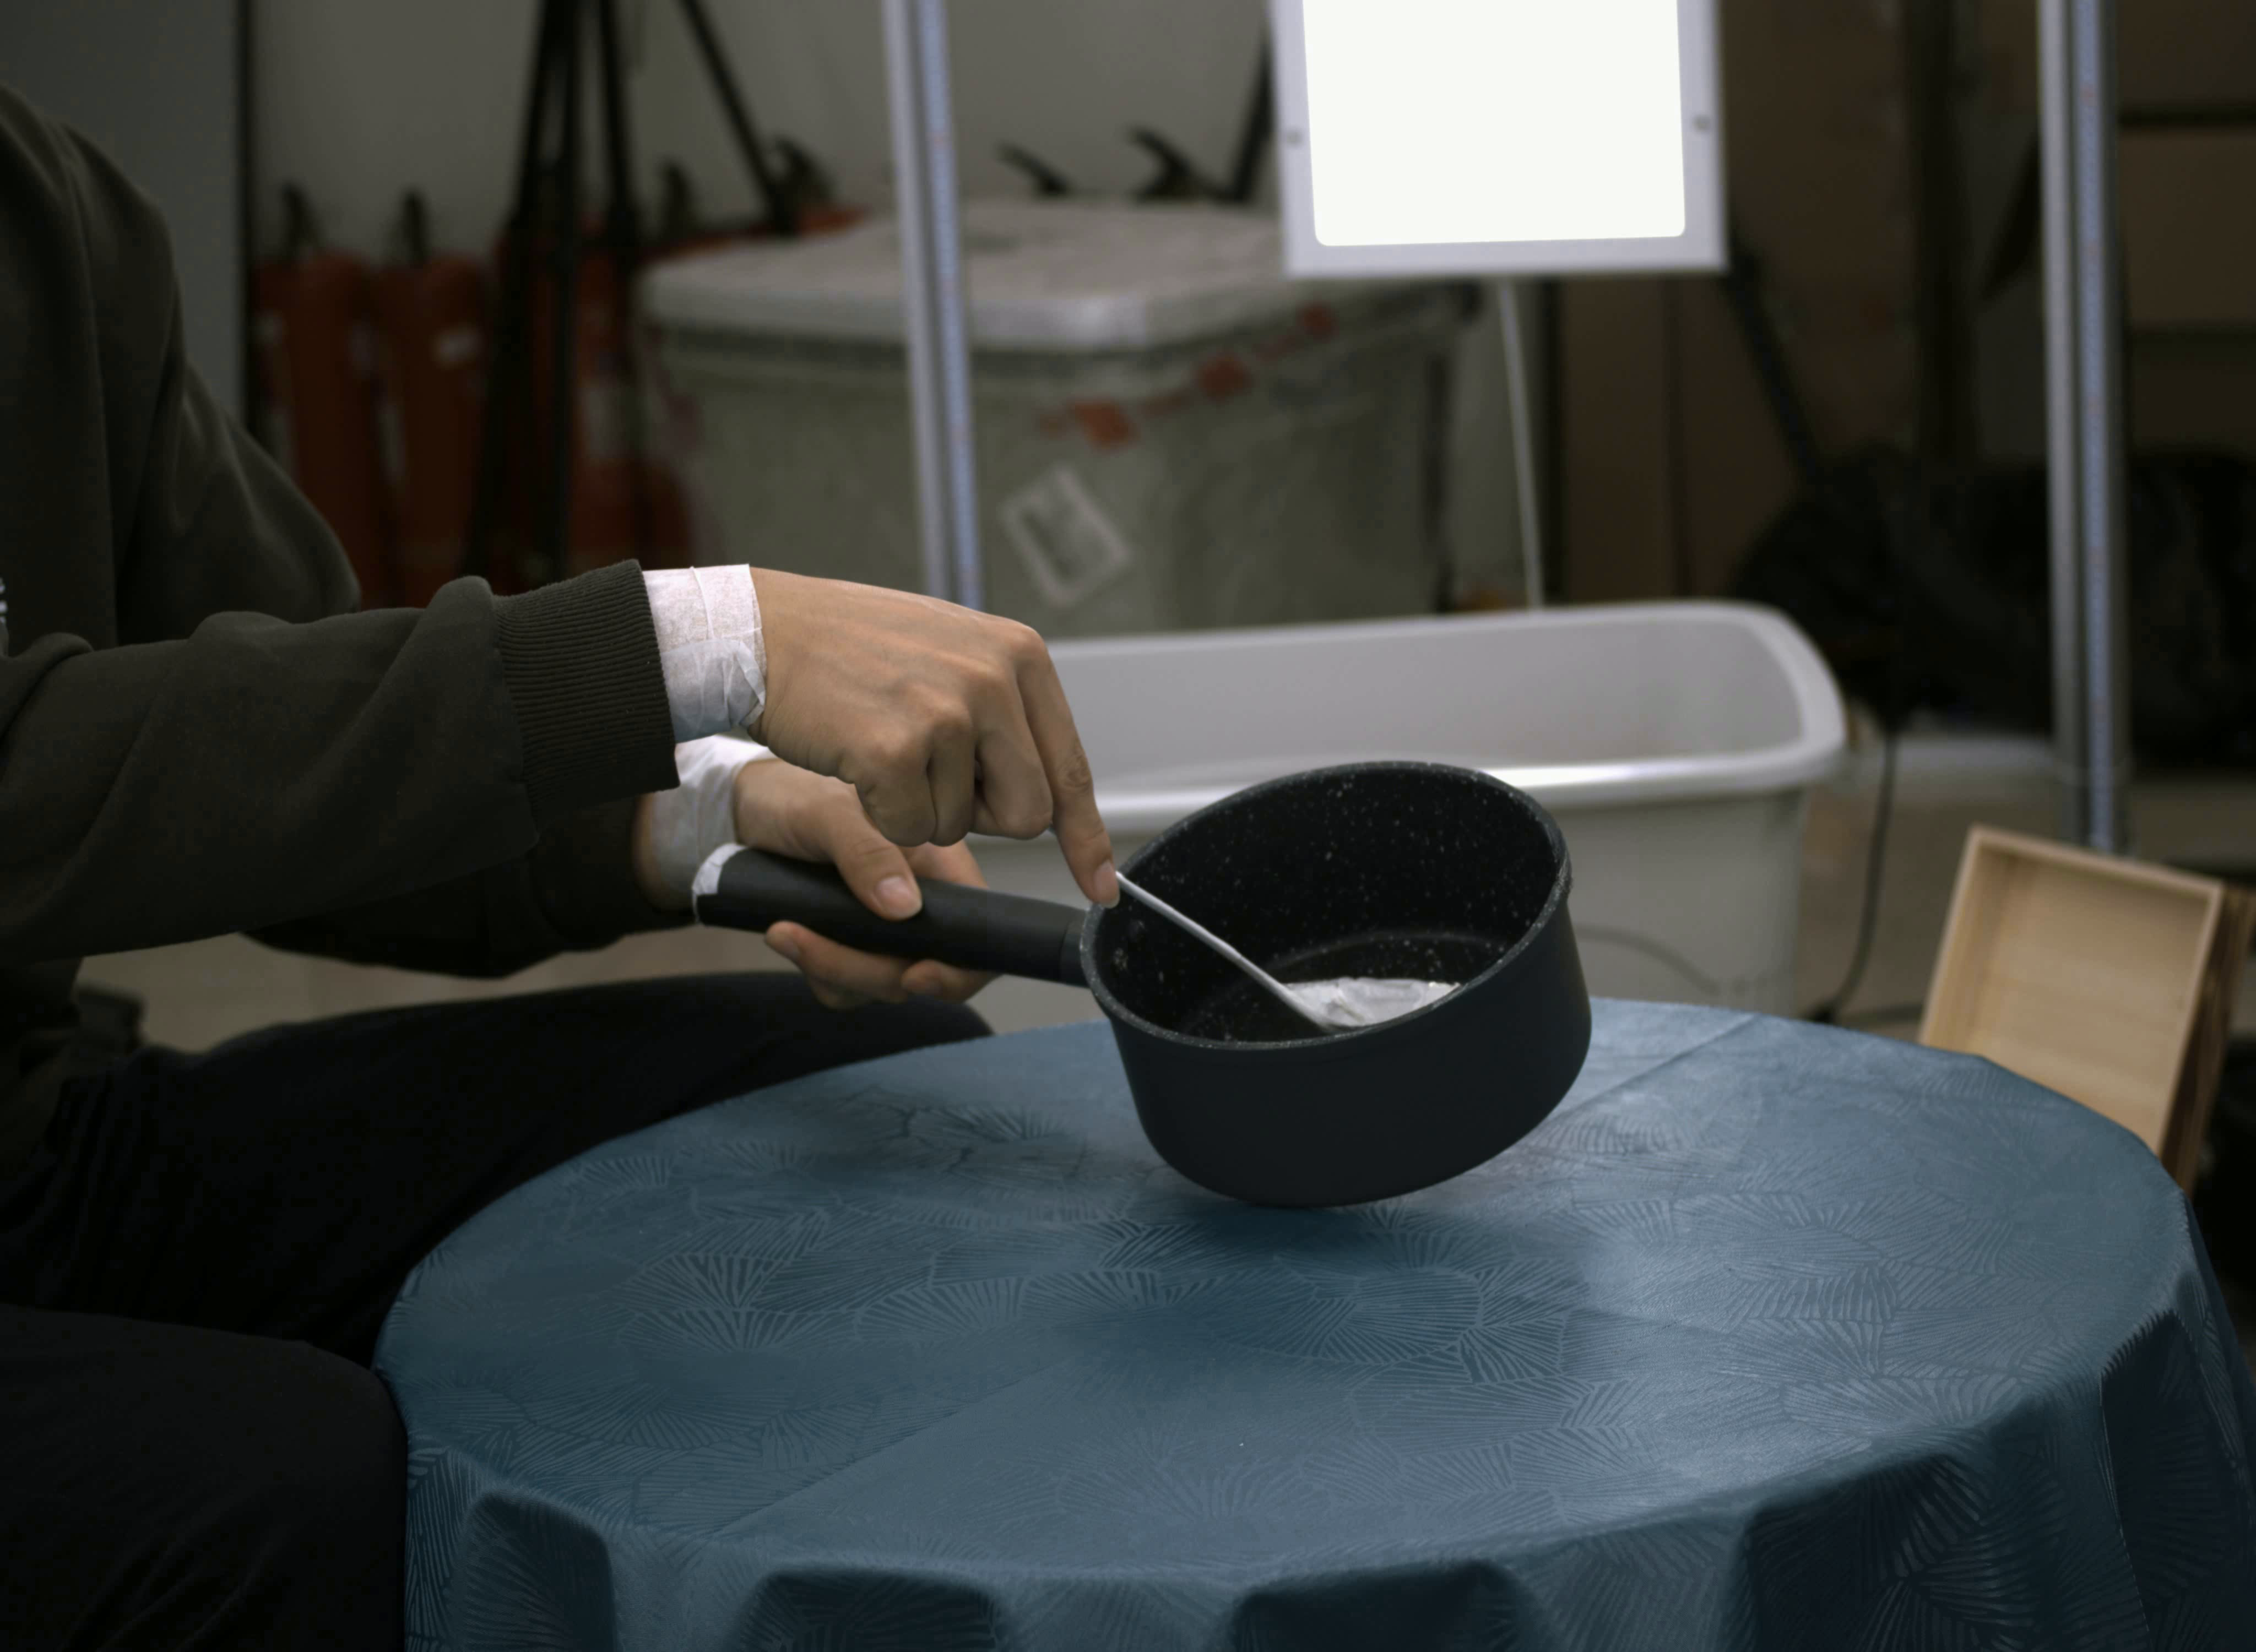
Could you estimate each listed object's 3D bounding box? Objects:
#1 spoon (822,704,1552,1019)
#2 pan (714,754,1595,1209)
[{"bbox_3d":[0.022,0.011,1.873,0.274,0.059,0.102,33,-6,-15],"label":"spoon"},{"bbox_3d":[0.005,0.050,1.945,0.334,0.086,0.169,4,36,29],"label":"pan"}]
